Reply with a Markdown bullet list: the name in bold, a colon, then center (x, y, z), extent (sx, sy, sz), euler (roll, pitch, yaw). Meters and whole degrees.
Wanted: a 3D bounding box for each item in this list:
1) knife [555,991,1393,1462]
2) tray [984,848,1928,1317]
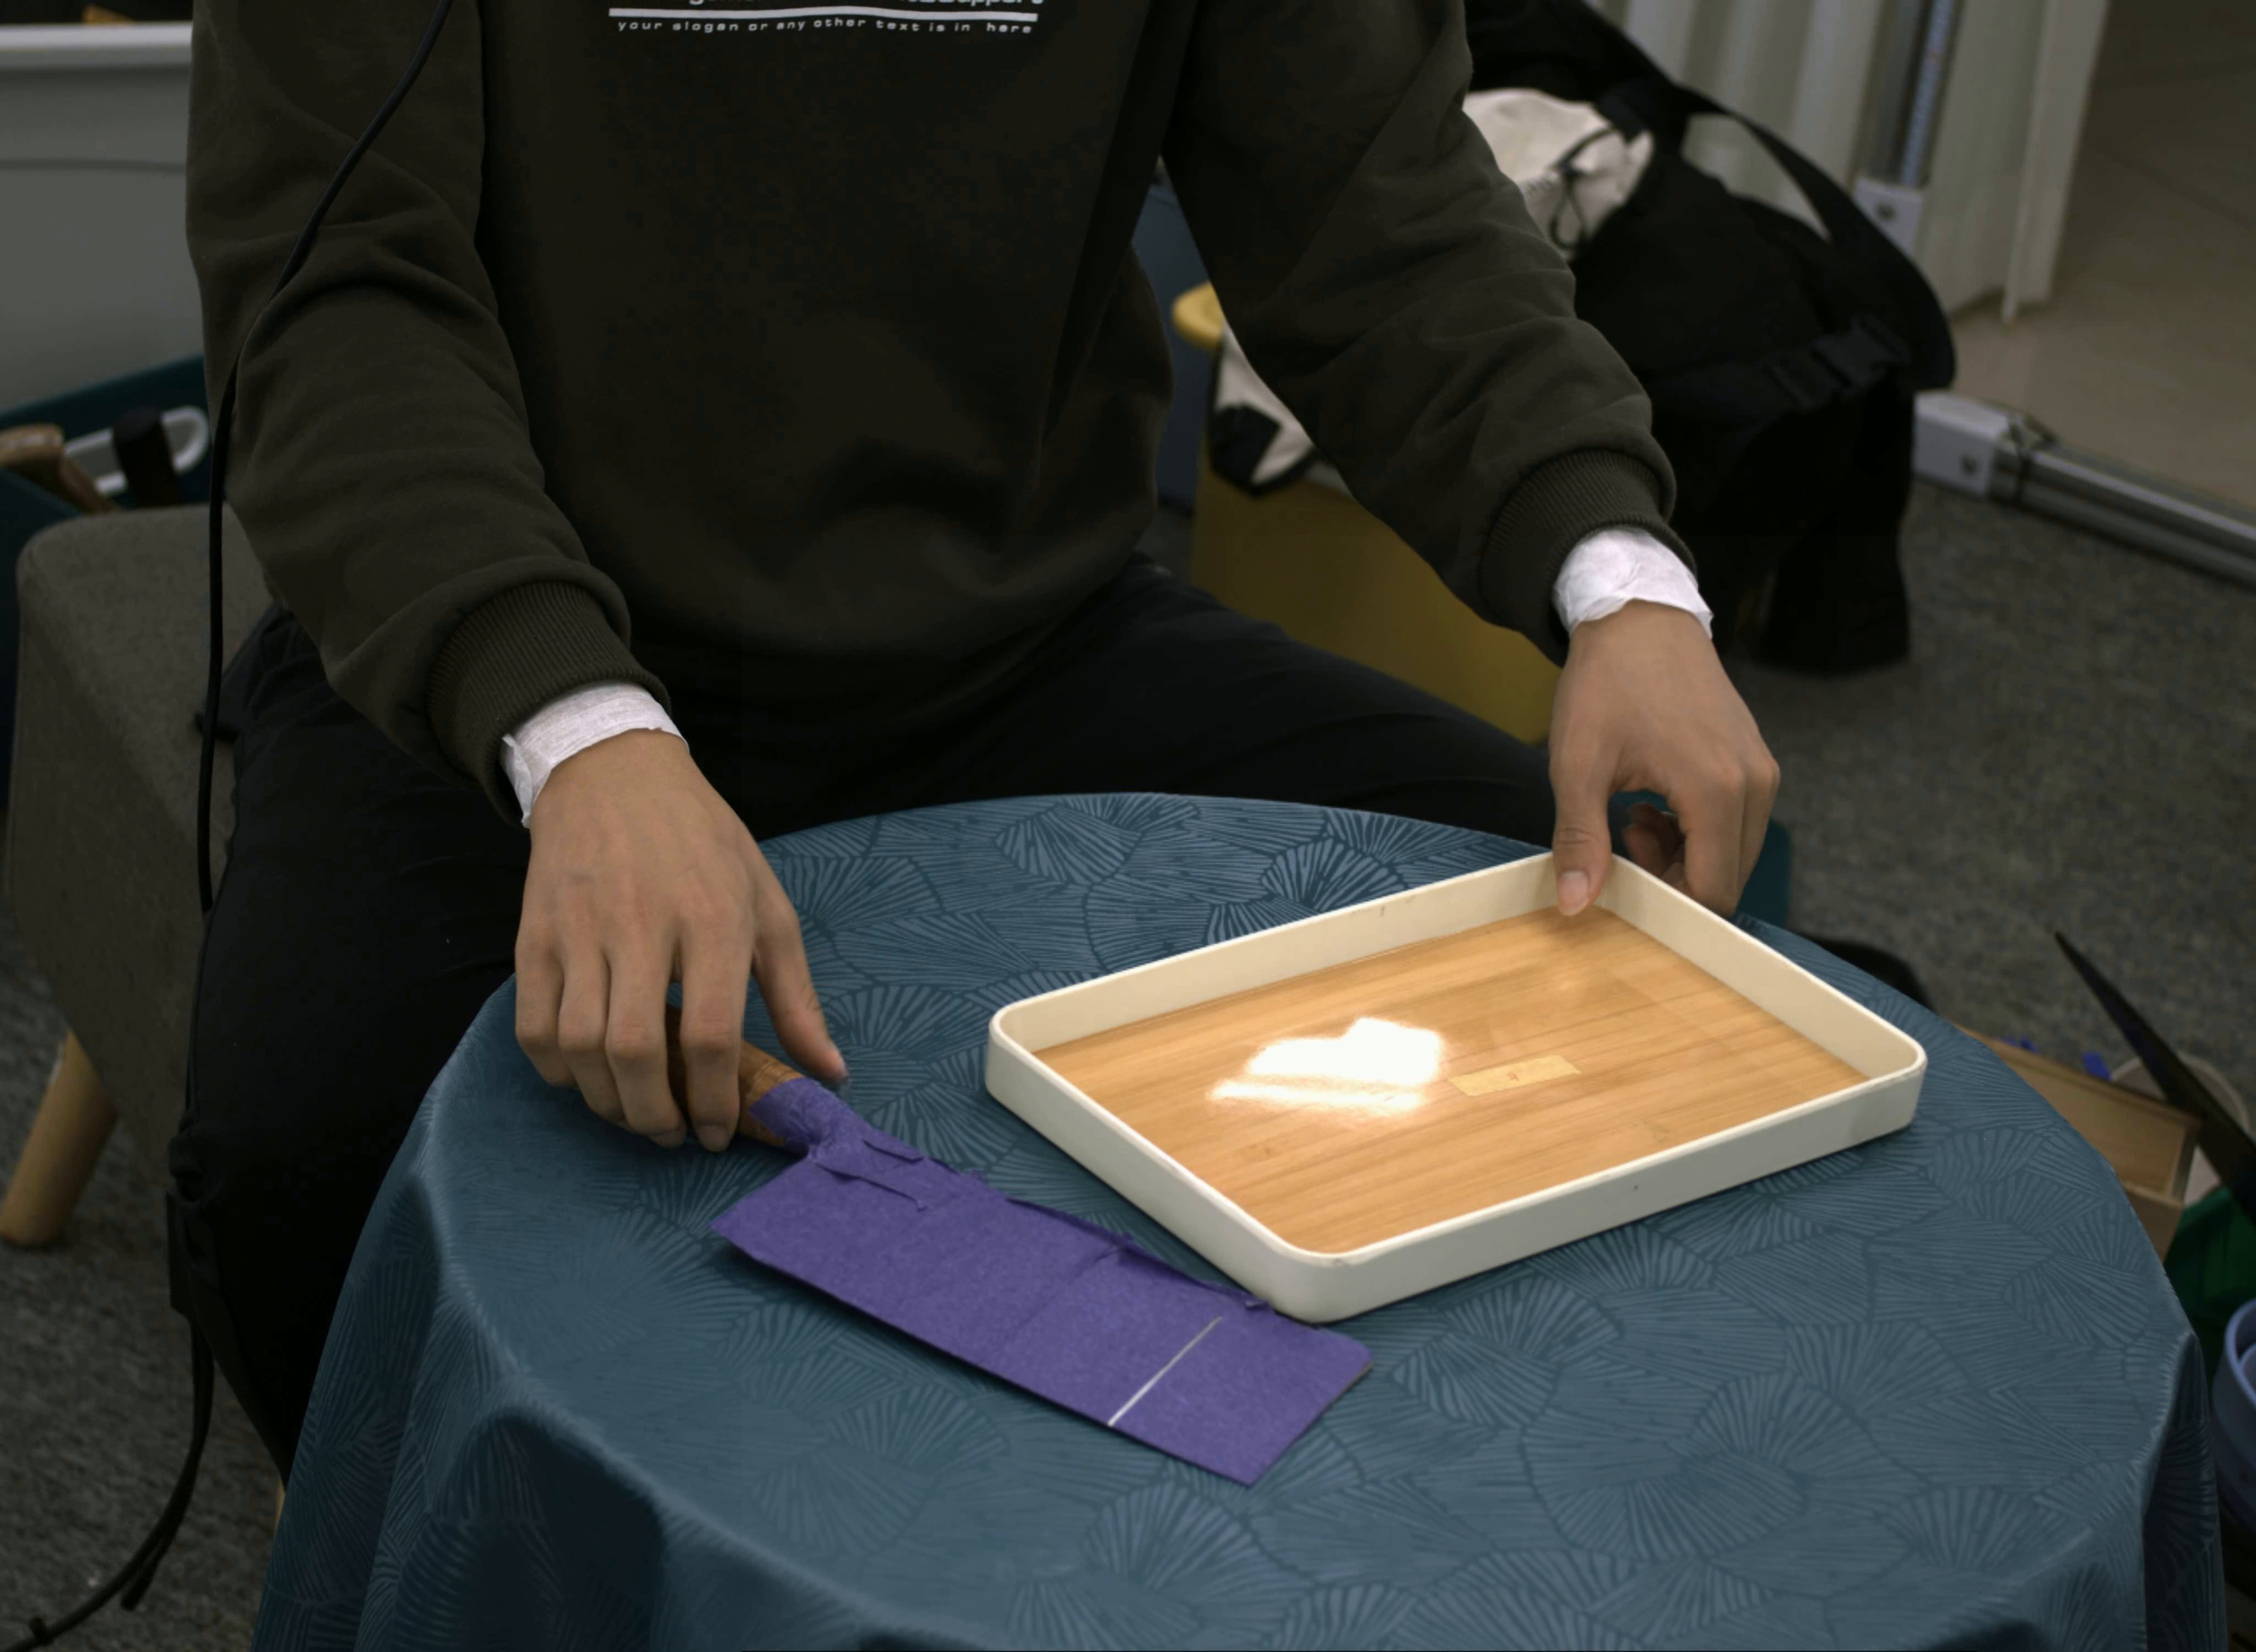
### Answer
- **knife**: center (-0.070, 0.129, 1.748), extent (0.316, 0.032, 0.103), euler (20, 29, 24)
- **tray**: center (0.117, 0.085, 1.878), extent (0.298, 0.027, 0.193), euler (-14, 33, -35)
